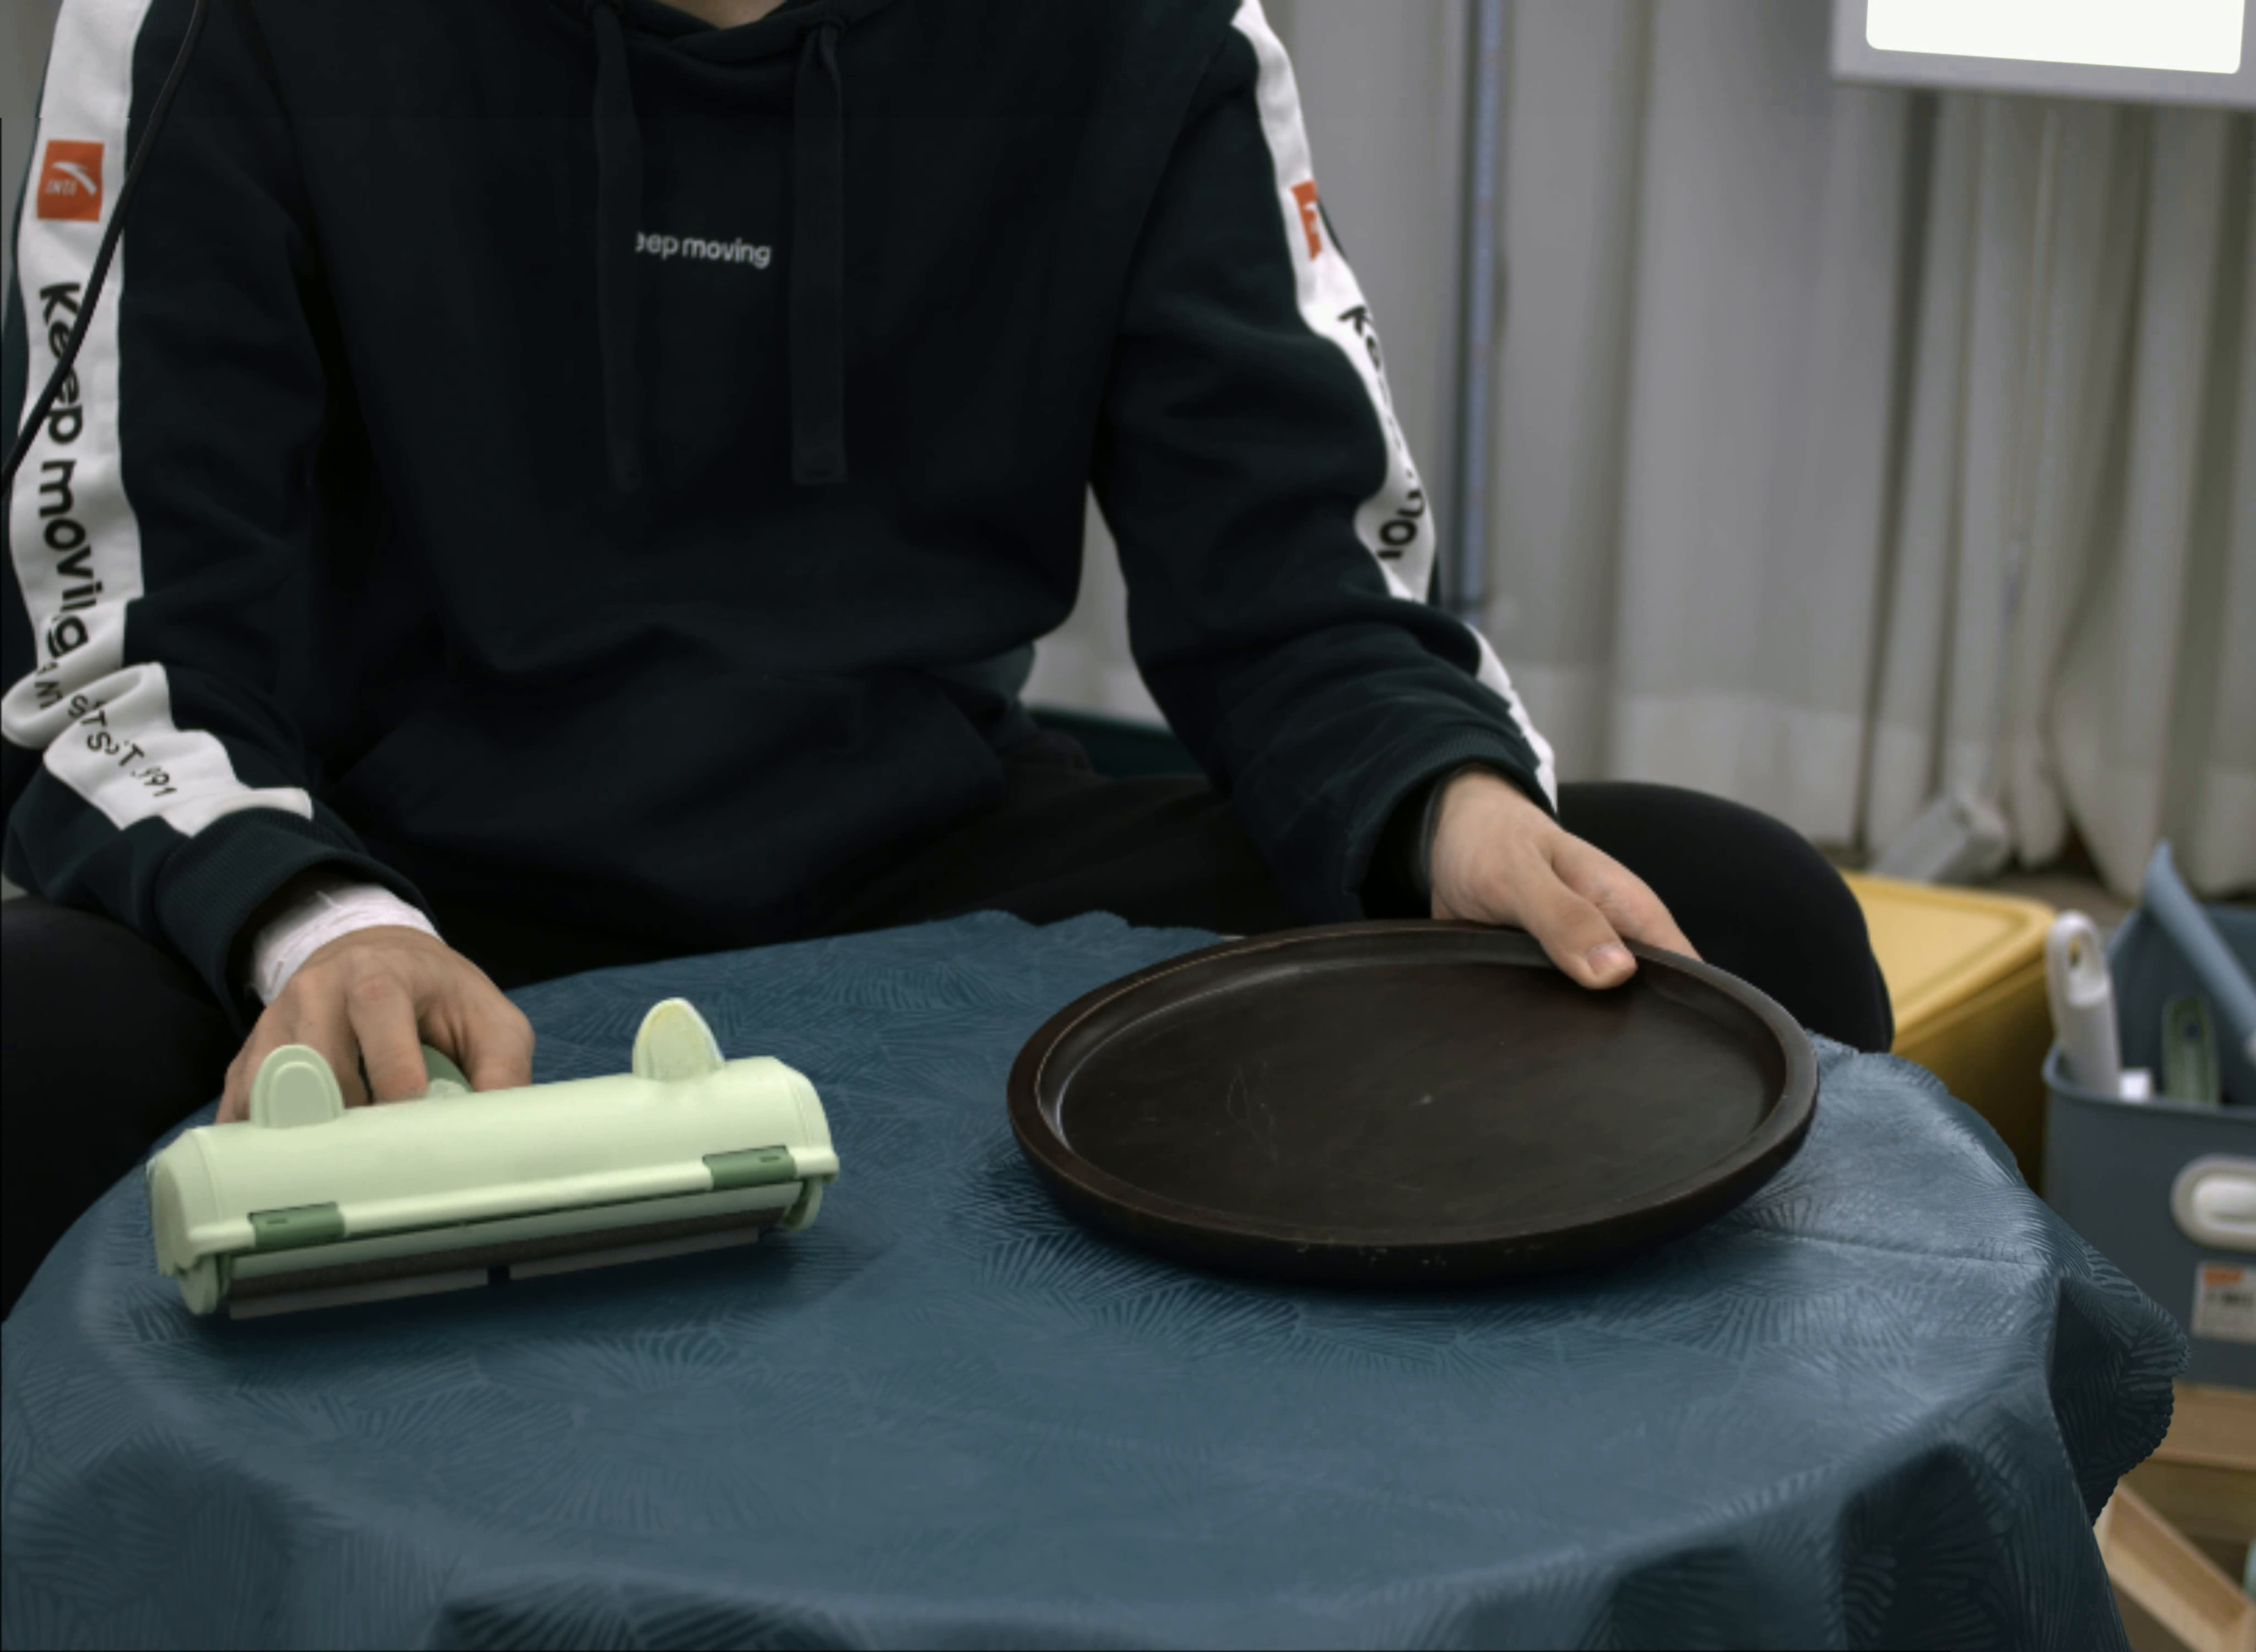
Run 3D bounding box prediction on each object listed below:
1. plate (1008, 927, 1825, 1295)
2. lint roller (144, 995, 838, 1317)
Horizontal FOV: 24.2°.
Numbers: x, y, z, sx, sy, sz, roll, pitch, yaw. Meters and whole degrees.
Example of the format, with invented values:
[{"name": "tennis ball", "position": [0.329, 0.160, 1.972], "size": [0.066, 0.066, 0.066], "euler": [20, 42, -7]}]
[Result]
[{"name": "plate", "position": [0.089, 0.085, 1.634], "size": [0.254, 0.029, 0.253], "euler": [-2, 22, 2]}, {"name": "lint roller", "position": [-0.206, 0.077, 1.574], "size": [0.199, 0.083, 0.181], "euler": [-6, 24, -23]}]
